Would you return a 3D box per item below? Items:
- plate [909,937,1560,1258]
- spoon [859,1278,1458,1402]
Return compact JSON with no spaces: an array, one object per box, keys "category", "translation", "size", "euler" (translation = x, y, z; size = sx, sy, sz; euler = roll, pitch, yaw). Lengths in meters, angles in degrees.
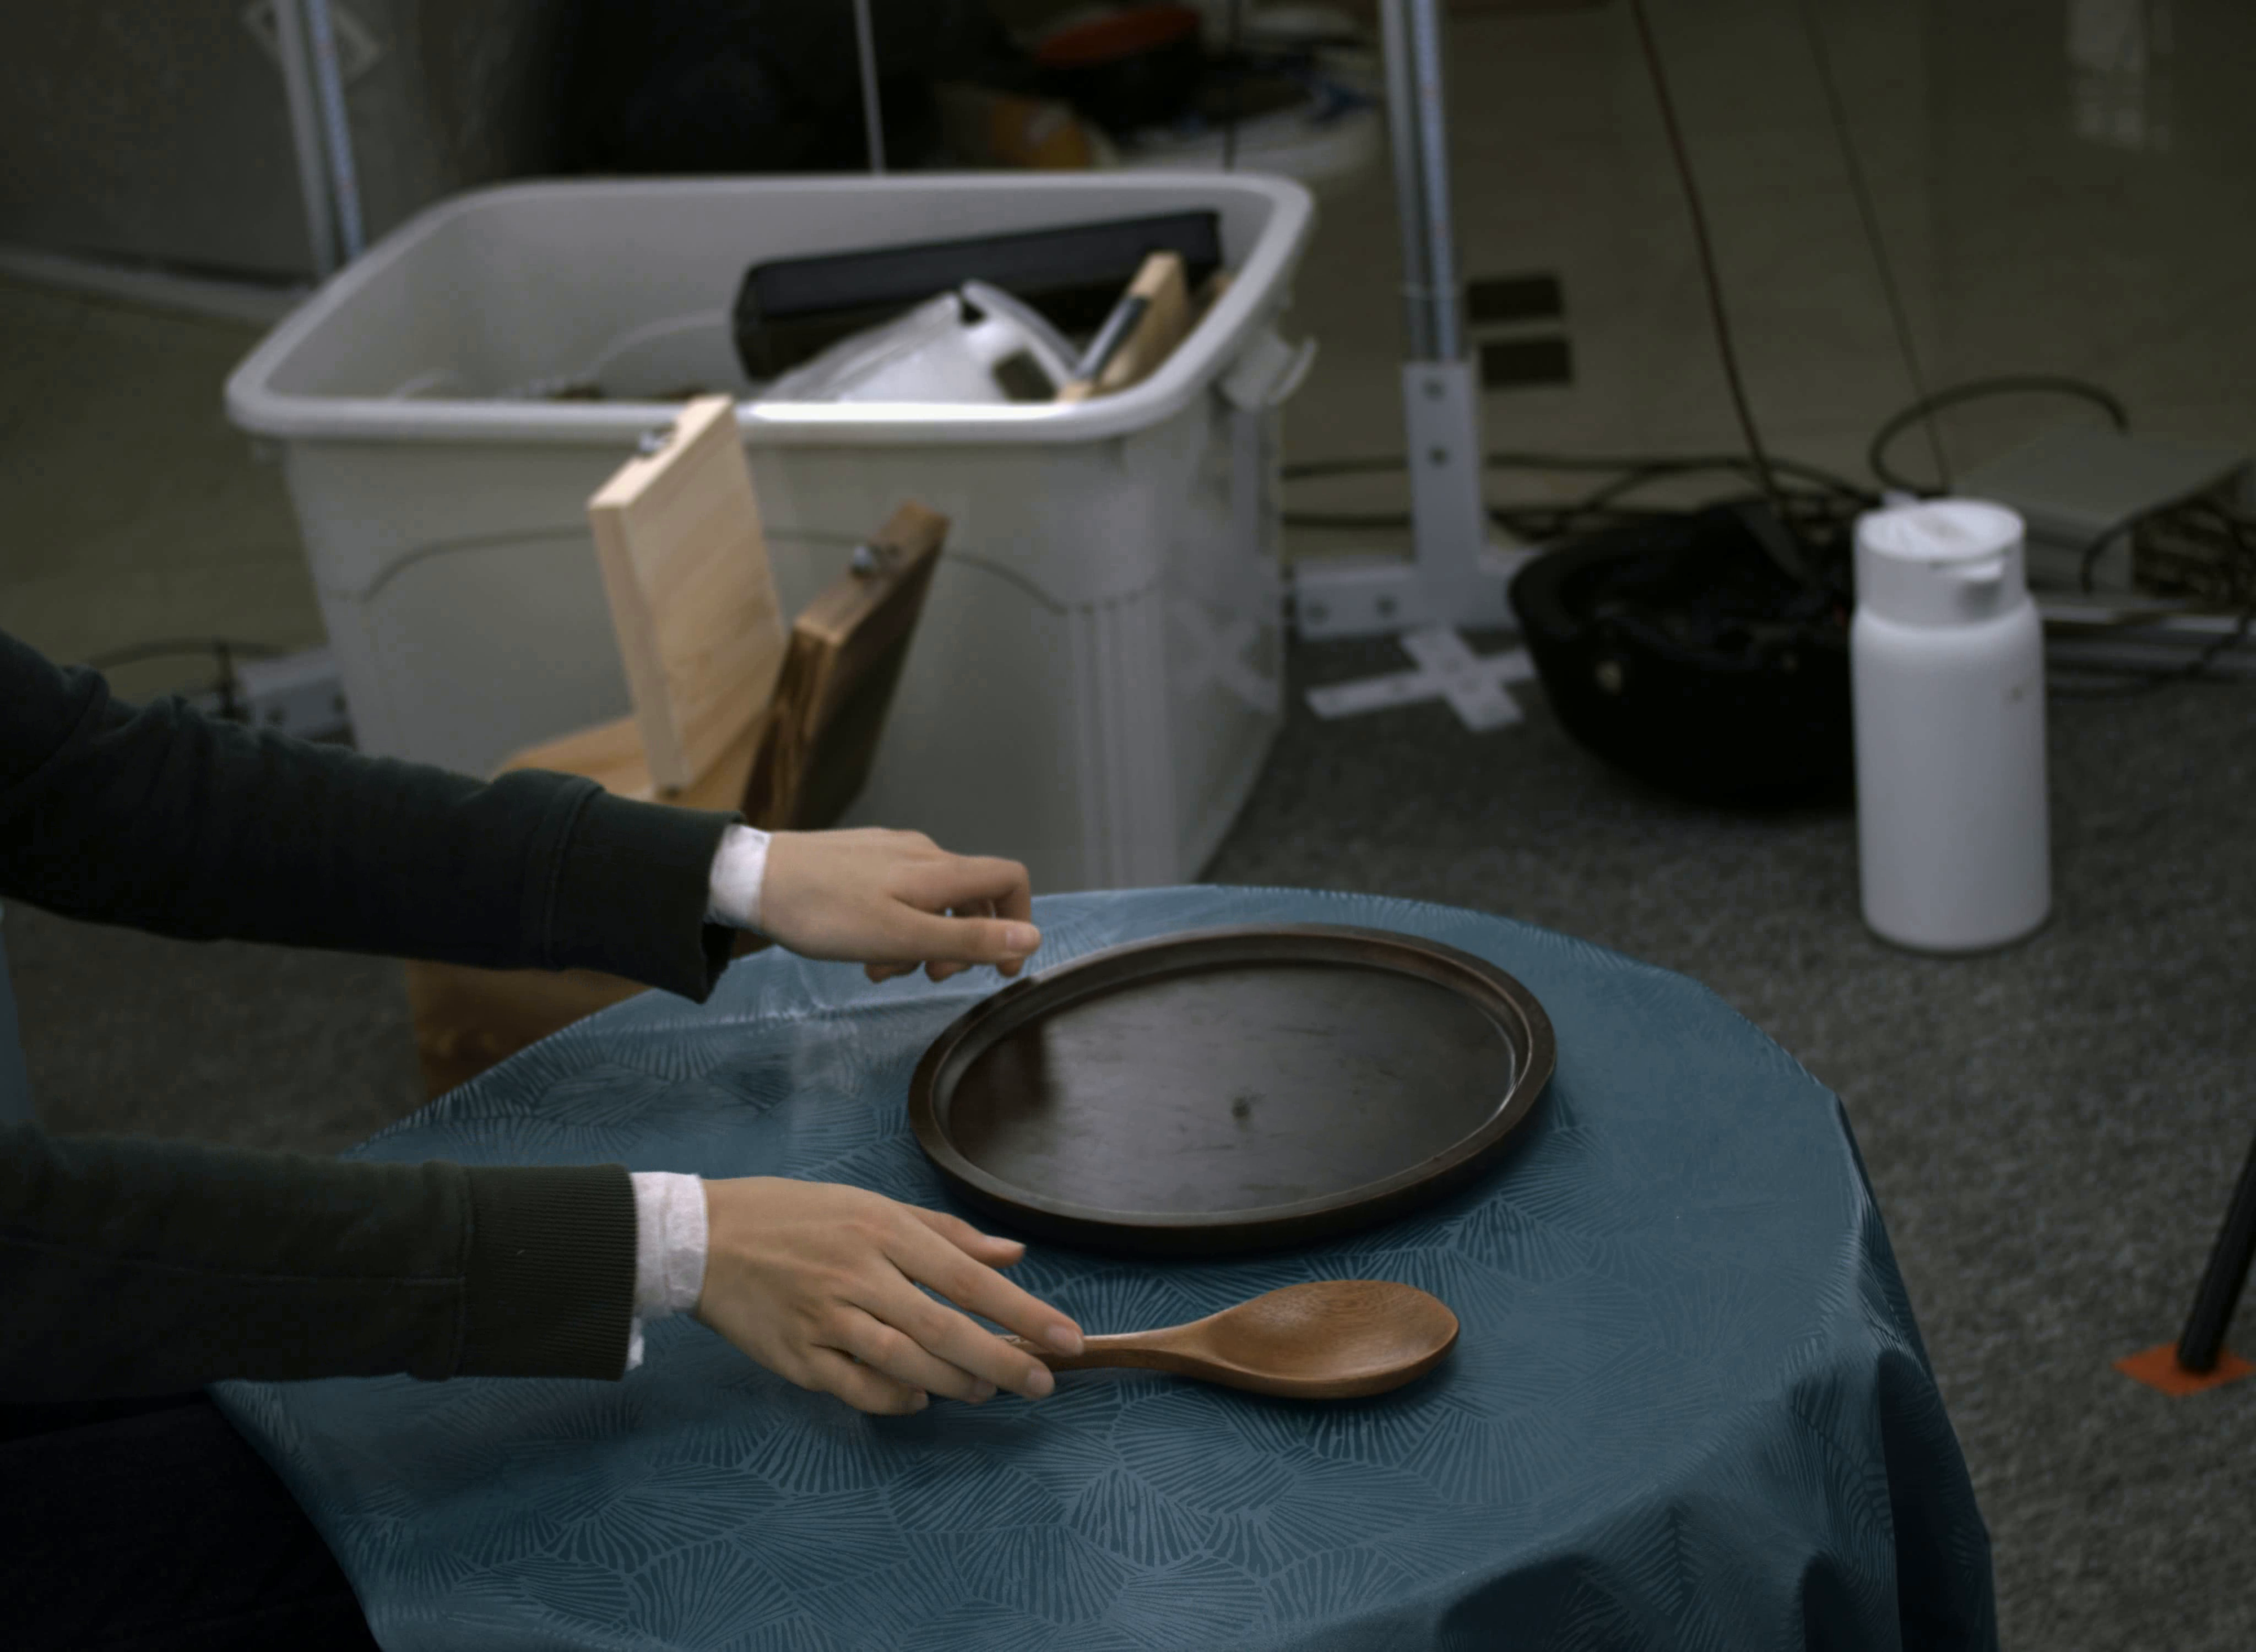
[{"category":"plate","translation":[0.041,0.103,2.195],"size":[0.254,0.029,0.251],"euler":[-4,24,2]},{"category":"spoon","translation":[0.010,0.188,2.025],"size":[0.215,0.017,0.074],"euler":[-3,25,8]}]
